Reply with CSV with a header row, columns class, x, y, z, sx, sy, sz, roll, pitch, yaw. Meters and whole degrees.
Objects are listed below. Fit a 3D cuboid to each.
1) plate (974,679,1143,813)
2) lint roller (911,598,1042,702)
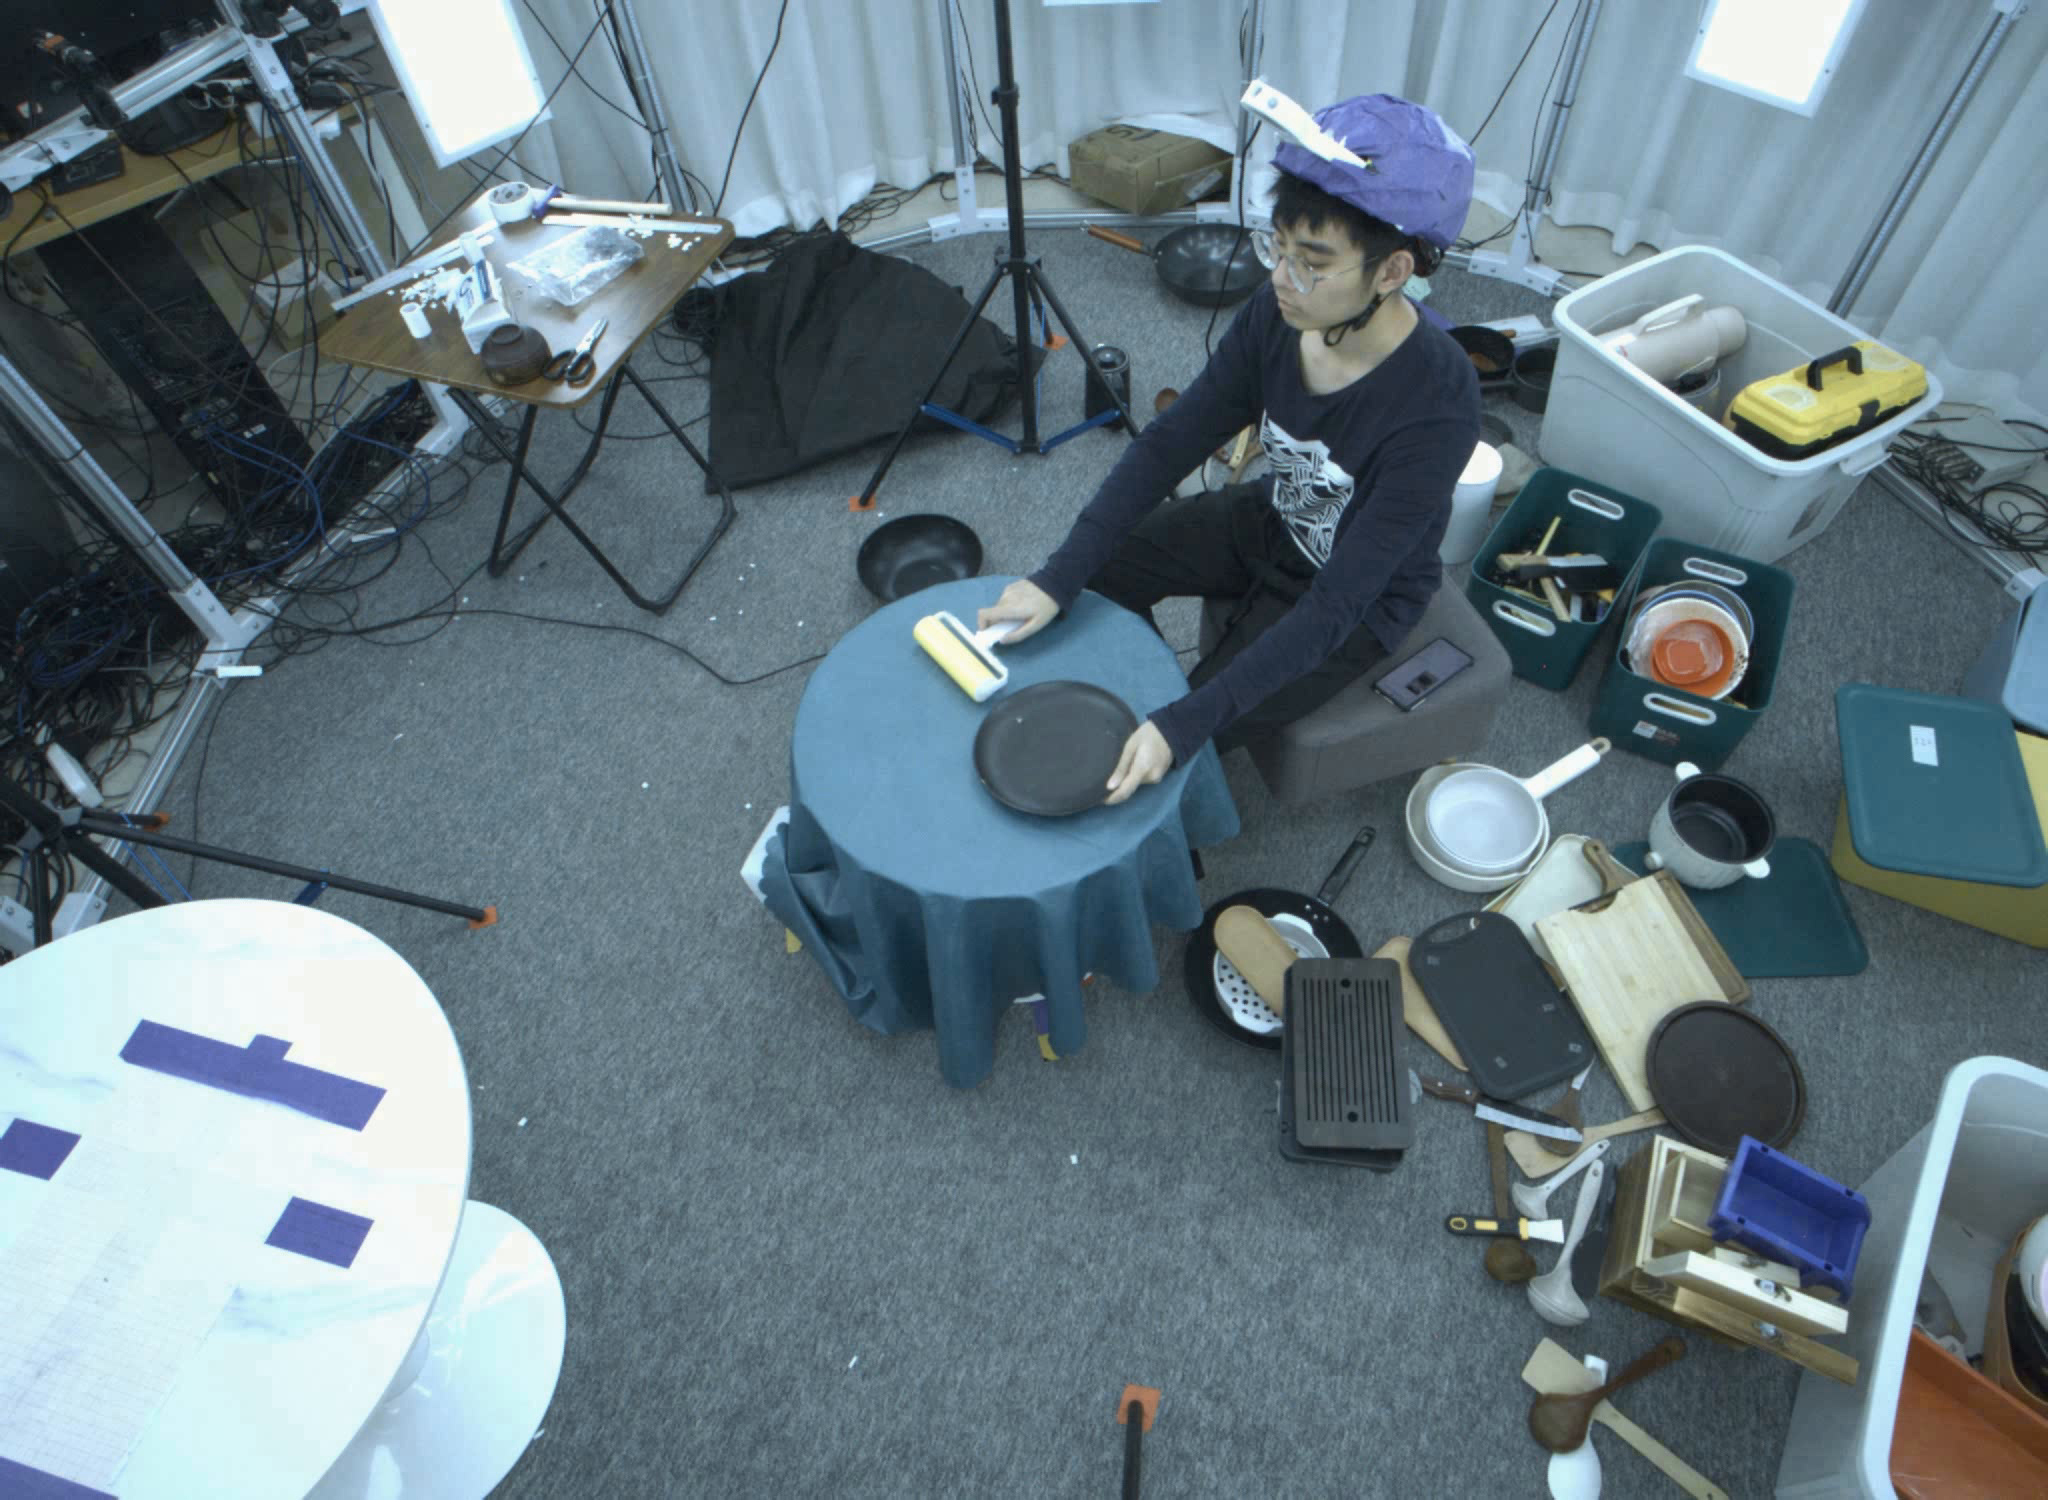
class,x,y,z,sx,sy,sz,roll,pitch,yaw
plate,0.050,-0.004,1.773,0.243,0.024,0.242,-3,53,5
lint roller,-0.052,-0.184,1.885,0.193,0.052,0.171,-40,63,-12
